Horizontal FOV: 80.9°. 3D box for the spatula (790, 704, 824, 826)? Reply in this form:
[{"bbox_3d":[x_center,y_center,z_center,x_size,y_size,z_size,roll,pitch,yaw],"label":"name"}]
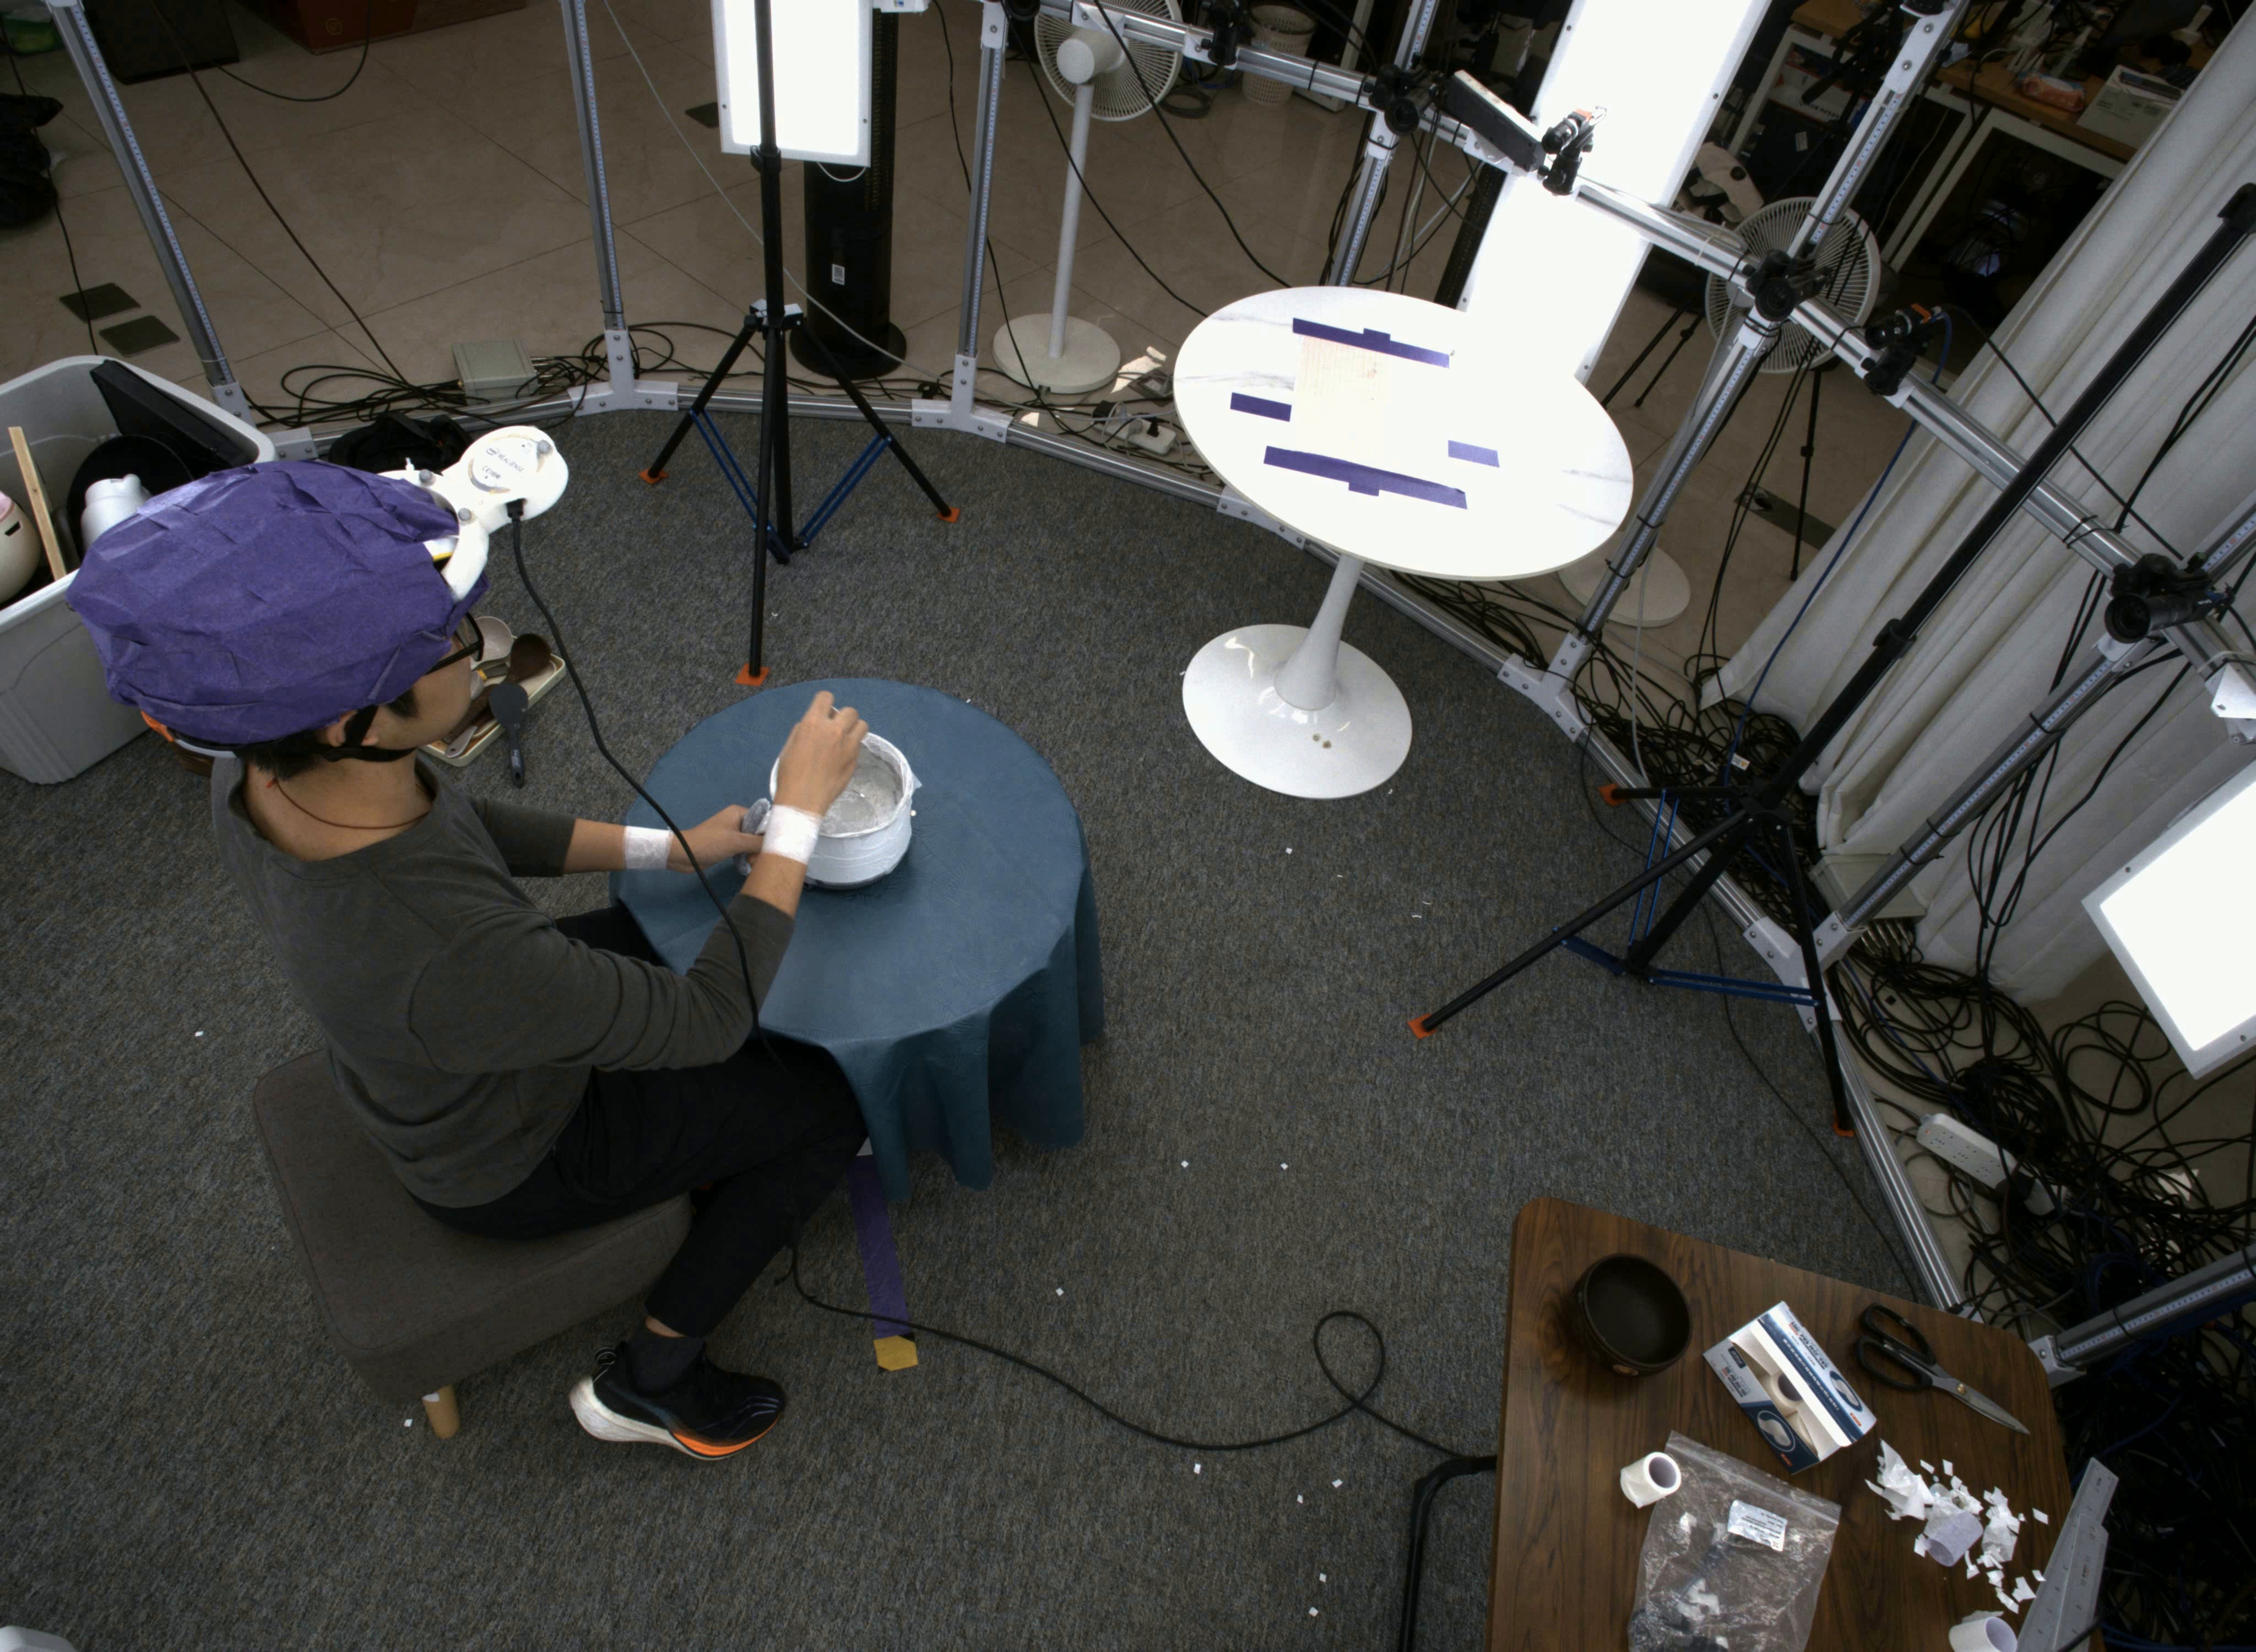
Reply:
[{"bbox_3d":[-0.385,-0.059,1.537,0.032,0.289,0.058,23,61,-5],"label":"spatula"}]

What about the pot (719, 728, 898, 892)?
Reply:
[{"bbox_3d":[-0.410,-0.008,1.657,0.235,0.139,0.174,-21,60,-26],"label":"pot"}]
